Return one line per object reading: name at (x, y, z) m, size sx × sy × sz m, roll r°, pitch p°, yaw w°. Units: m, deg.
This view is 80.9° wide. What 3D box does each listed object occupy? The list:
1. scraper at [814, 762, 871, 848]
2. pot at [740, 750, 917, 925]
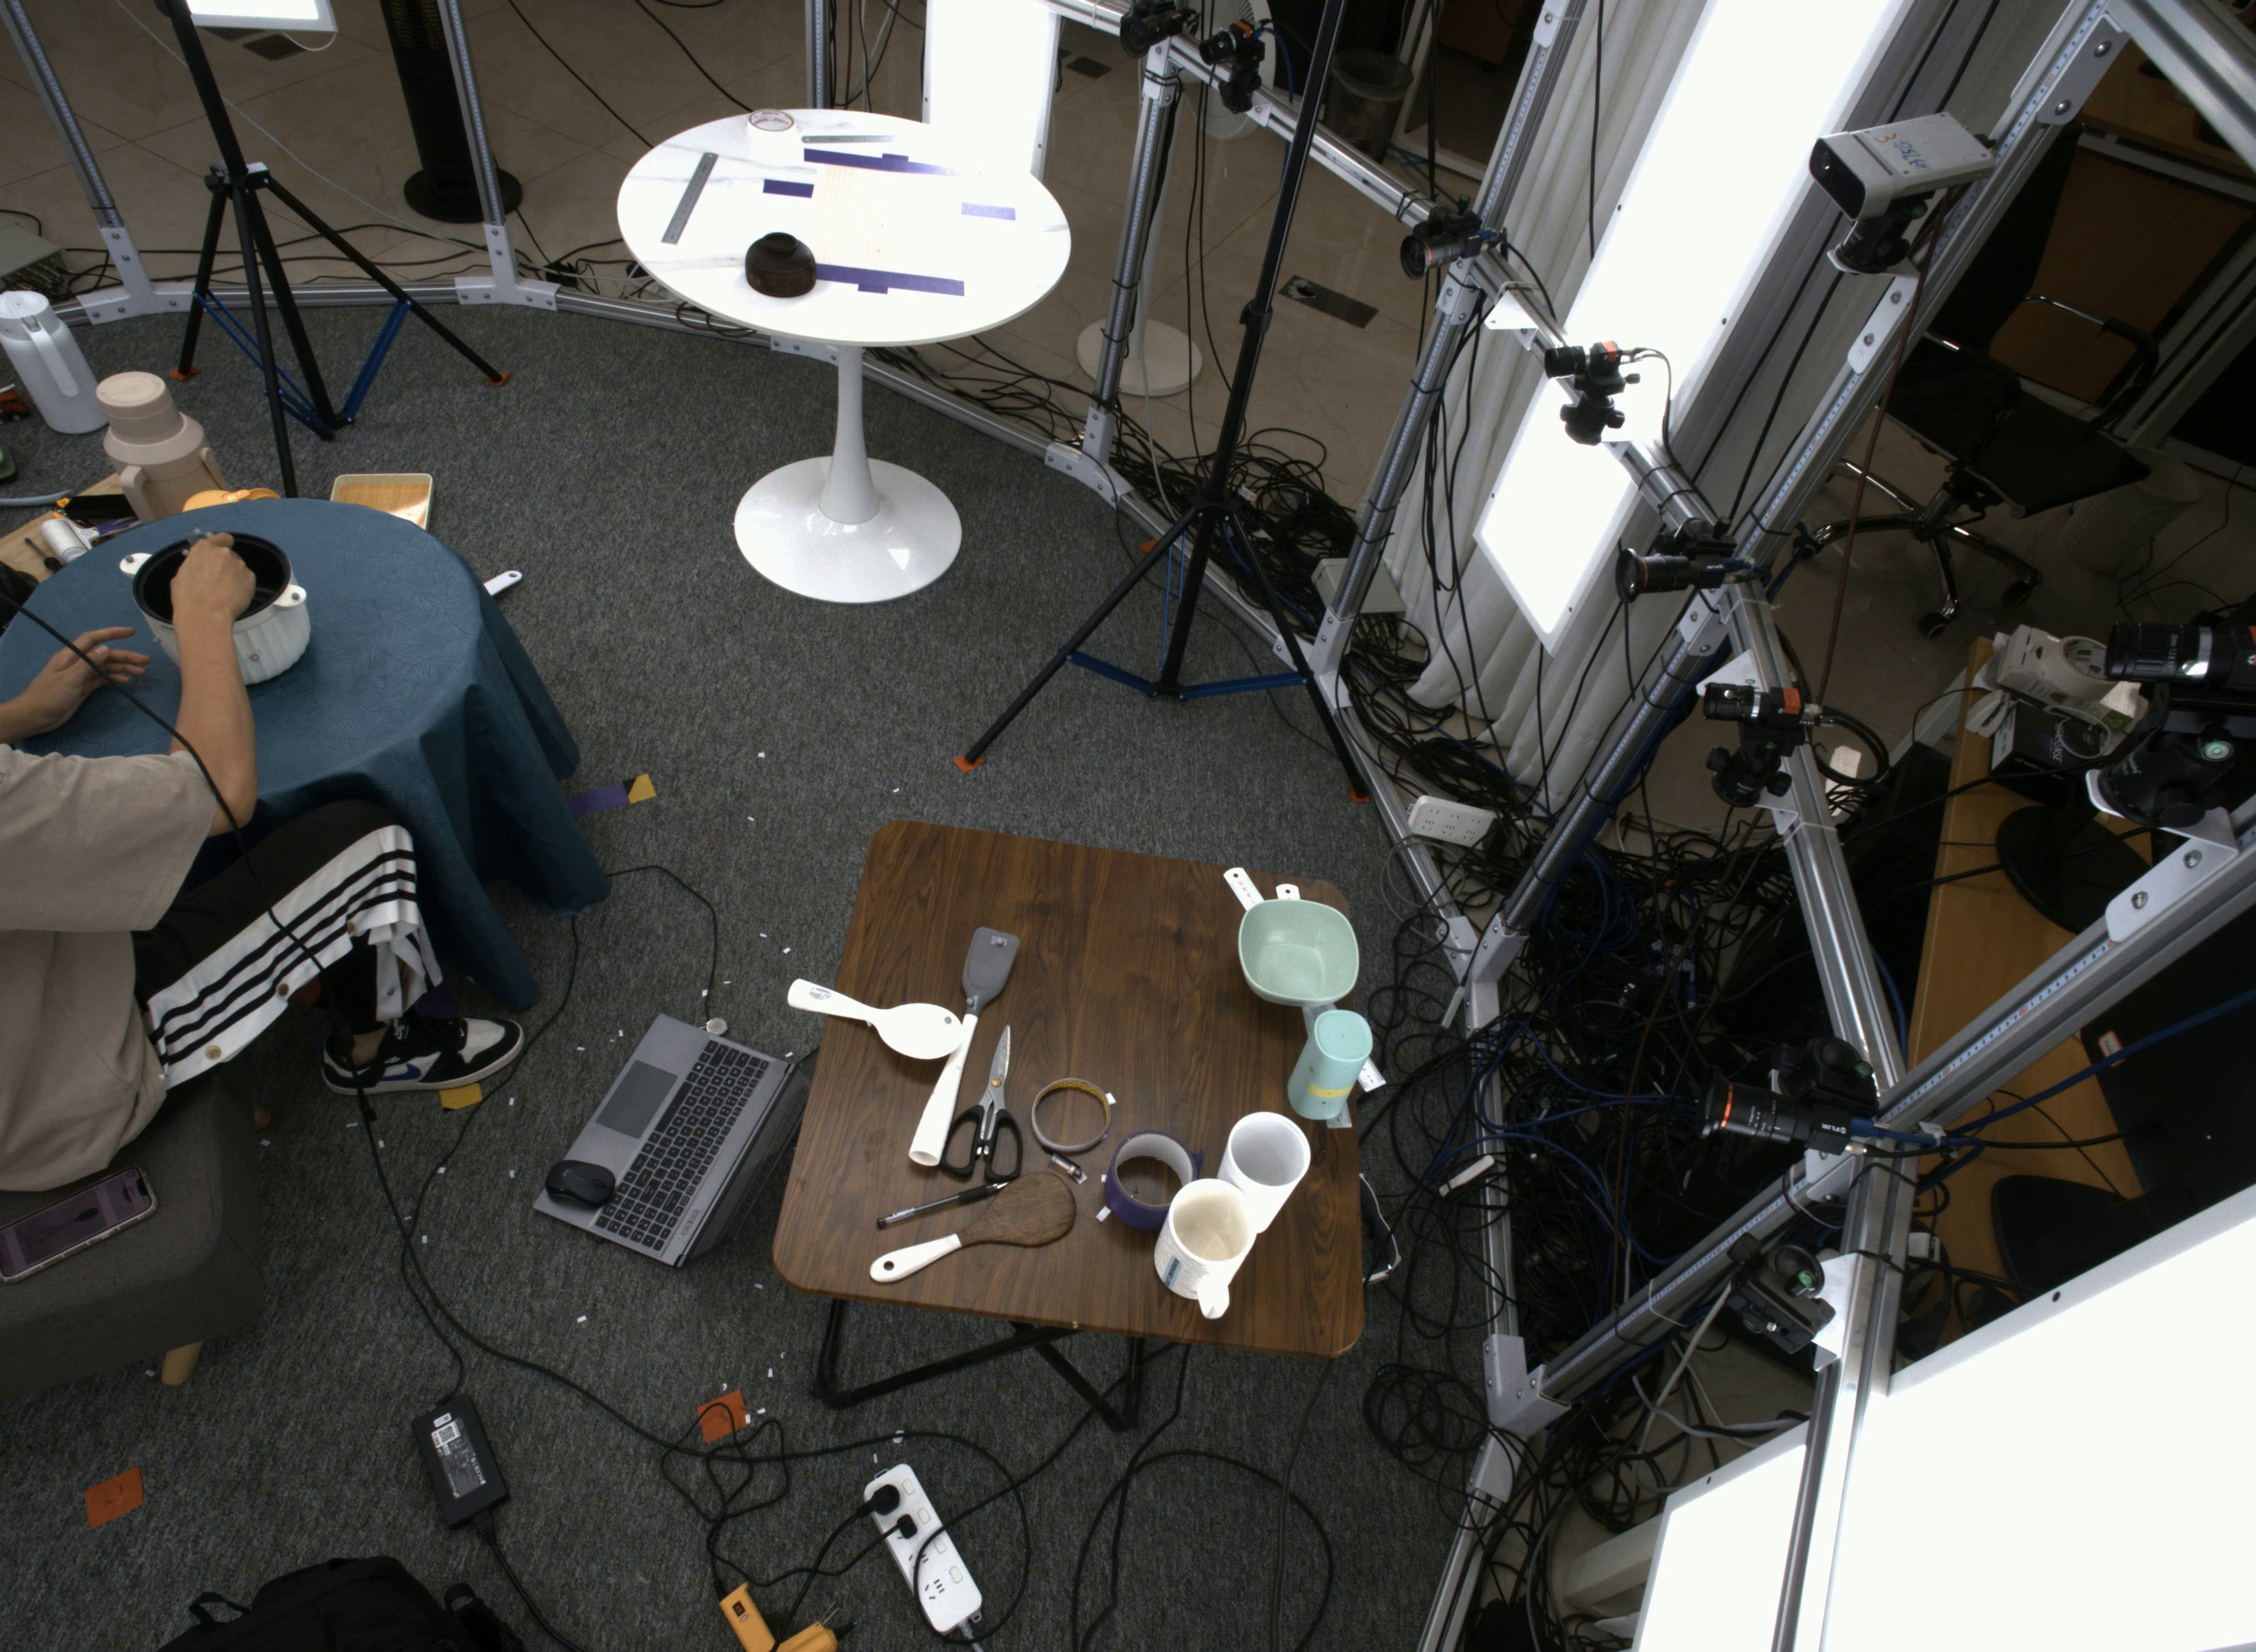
scraper at (-0.323, -0.027, 1.475) m, size 0.039 × 0.015 × 0.165 m, roll -6°, pitch 38°, yaw -23°
pot at (-0.380, 0.020, 1.640) m, size 0.237 × 0.146 × 0.189 m, roll 22°, pitch 48°, yaw 6°
